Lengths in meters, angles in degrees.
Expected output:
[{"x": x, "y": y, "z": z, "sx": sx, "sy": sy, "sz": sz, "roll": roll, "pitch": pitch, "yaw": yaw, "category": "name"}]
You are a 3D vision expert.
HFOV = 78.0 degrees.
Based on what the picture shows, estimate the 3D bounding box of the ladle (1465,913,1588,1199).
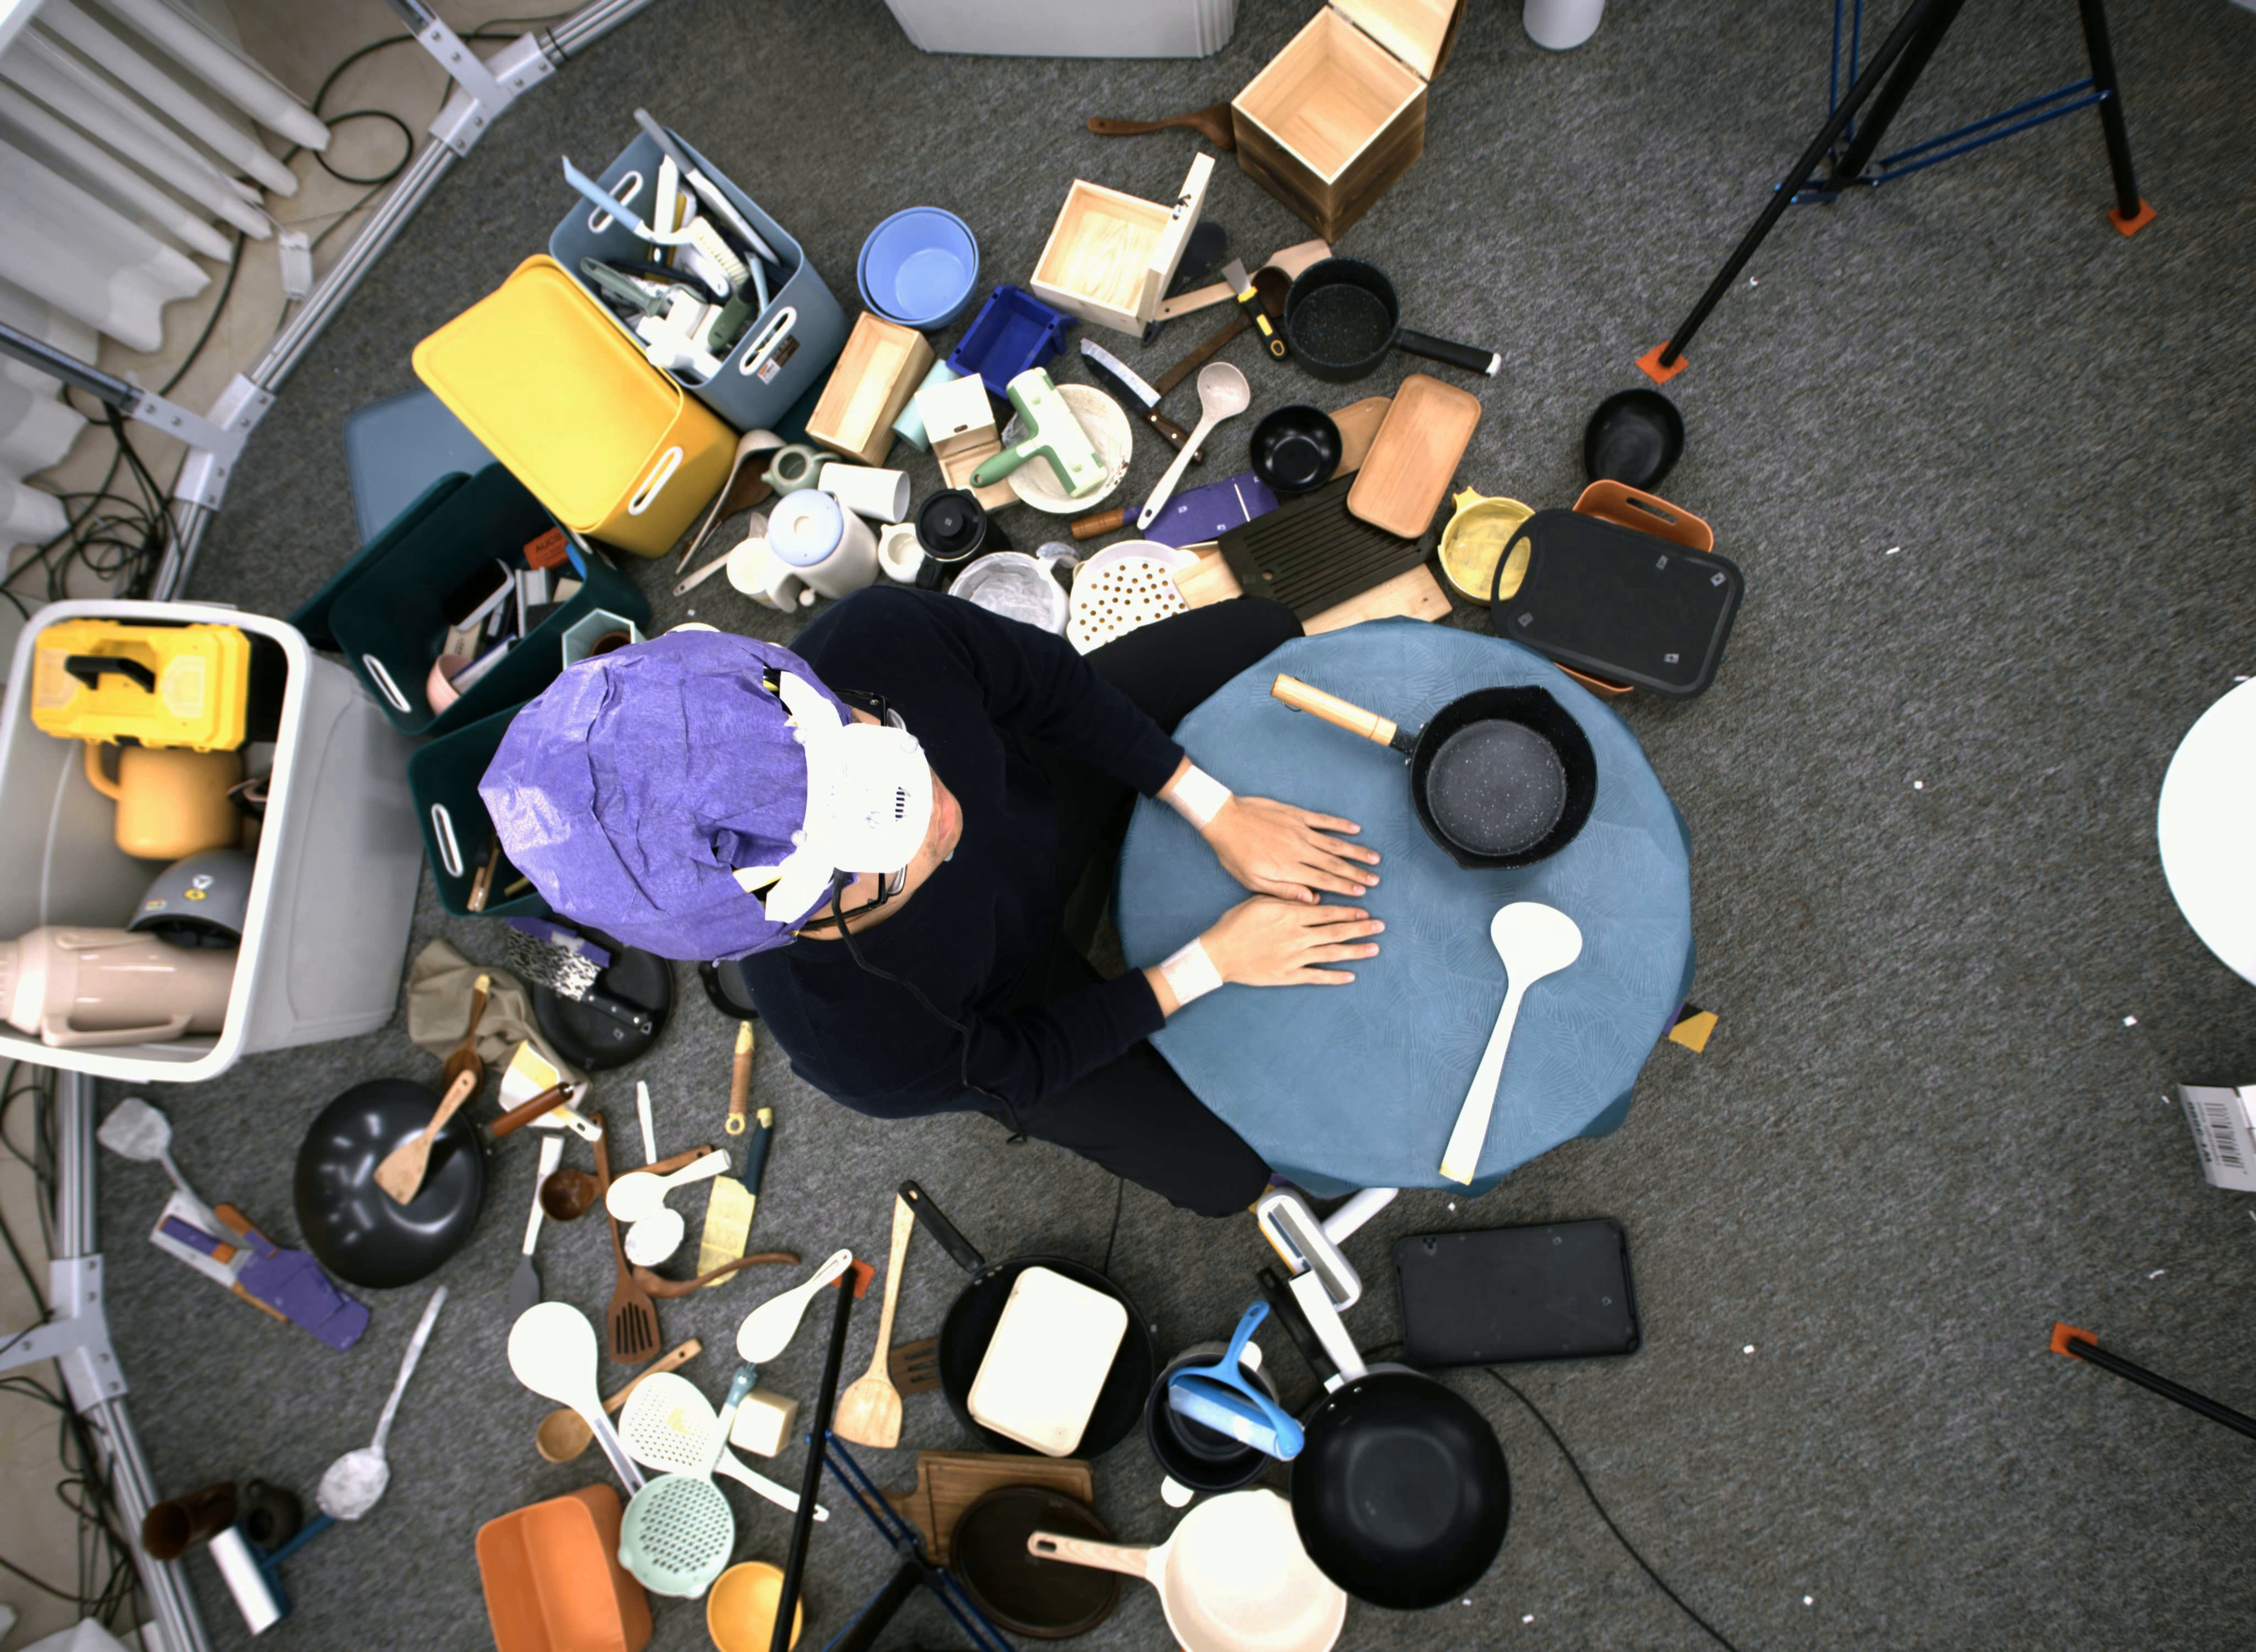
[{"x": 0.392, "y": 0.231, "z": 1.396, "sx": 0.090, "sy": 0.070, "sz": 0.292, "roll": 15, "pitch": 89, "yaw": 26, "category": "ladle"}]

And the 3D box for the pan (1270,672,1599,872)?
[{"x": 0.305, "y": -0.076, "z": 1.407, "sx": 0.343, "sy": 0.108, "sz": 0.207, "roll": 22, "pitch": 91, "yaw": 10, "category": "pan"}]
